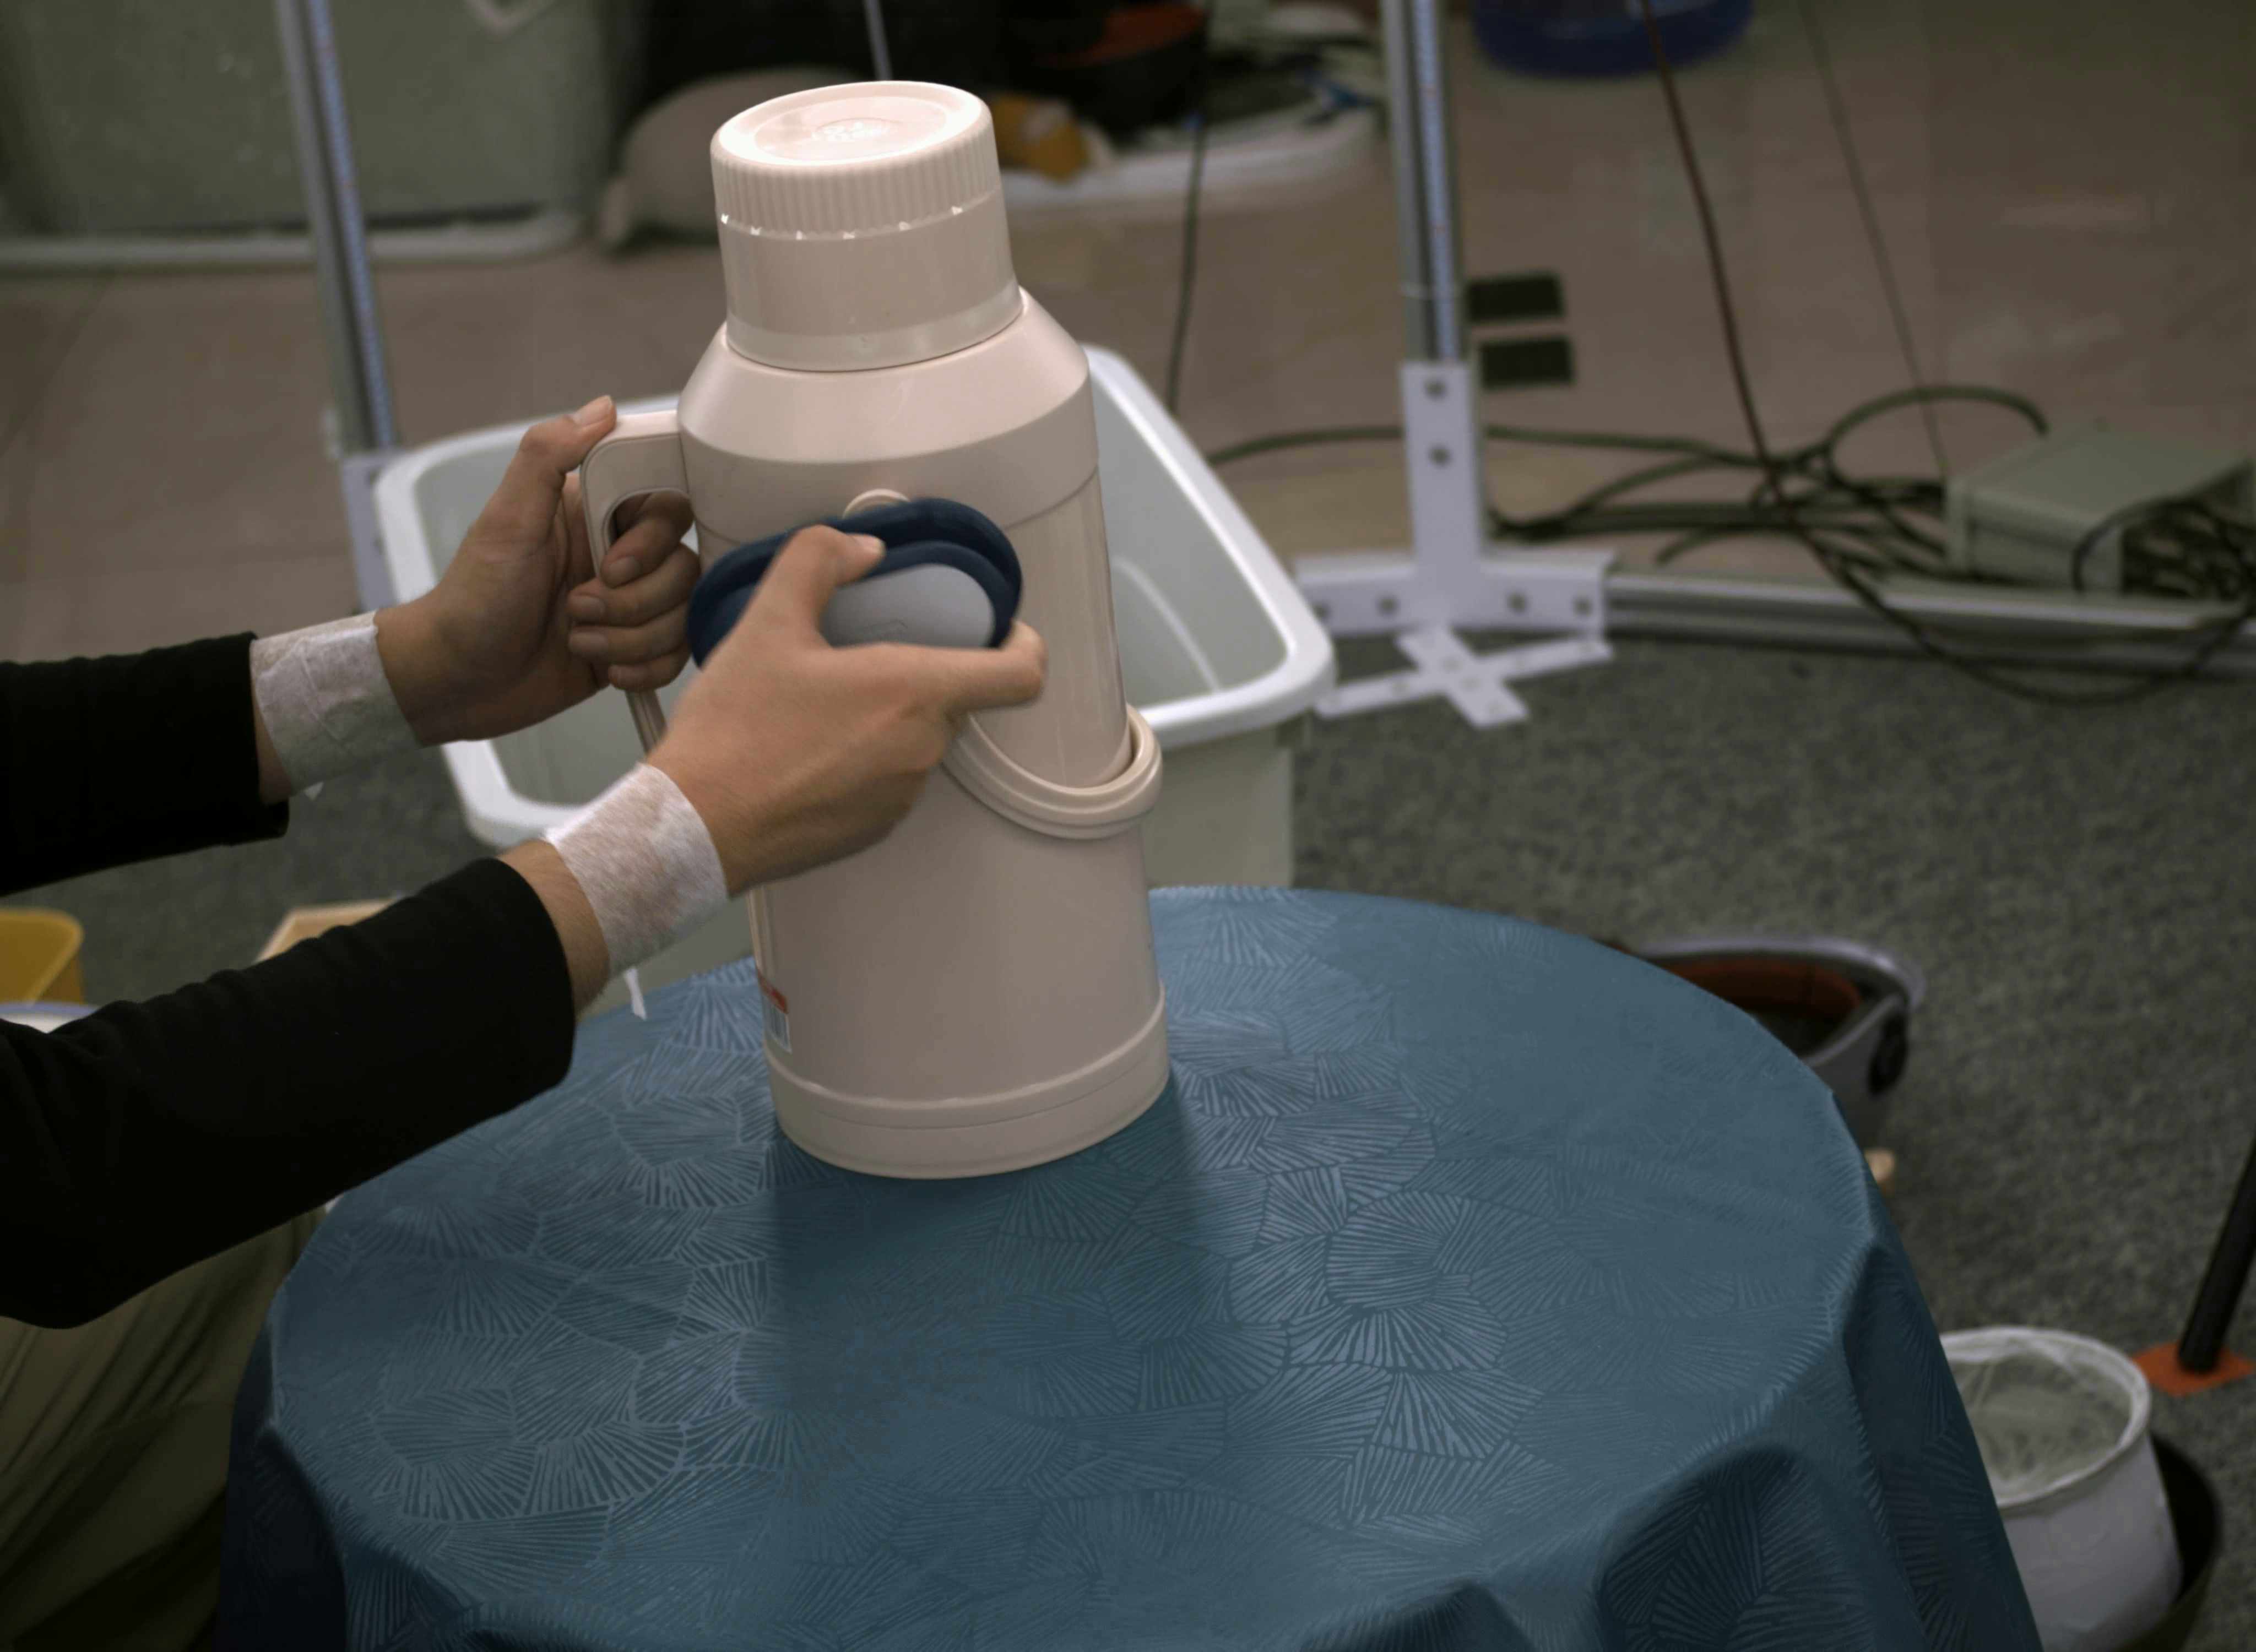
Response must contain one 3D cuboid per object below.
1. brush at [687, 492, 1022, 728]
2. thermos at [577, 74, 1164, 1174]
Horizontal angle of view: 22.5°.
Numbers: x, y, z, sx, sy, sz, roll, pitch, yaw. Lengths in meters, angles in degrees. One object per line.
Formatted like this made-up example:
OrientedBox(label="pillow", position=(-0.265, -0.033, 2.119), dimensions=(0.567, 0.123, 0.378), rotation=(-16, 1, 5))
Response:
OrientedBox(label="brush", position=(-0.097, -0.079, 2.014), dimensions=(0.121, 0.069, 0.060), rotation=(-13, 28, 3))
OrientedBox(label="thermos", position=(-0.097, -0.077, 2.157), dimensions=(0.207, 0.413, 0.172), rotation=(-5, 27, 2))
